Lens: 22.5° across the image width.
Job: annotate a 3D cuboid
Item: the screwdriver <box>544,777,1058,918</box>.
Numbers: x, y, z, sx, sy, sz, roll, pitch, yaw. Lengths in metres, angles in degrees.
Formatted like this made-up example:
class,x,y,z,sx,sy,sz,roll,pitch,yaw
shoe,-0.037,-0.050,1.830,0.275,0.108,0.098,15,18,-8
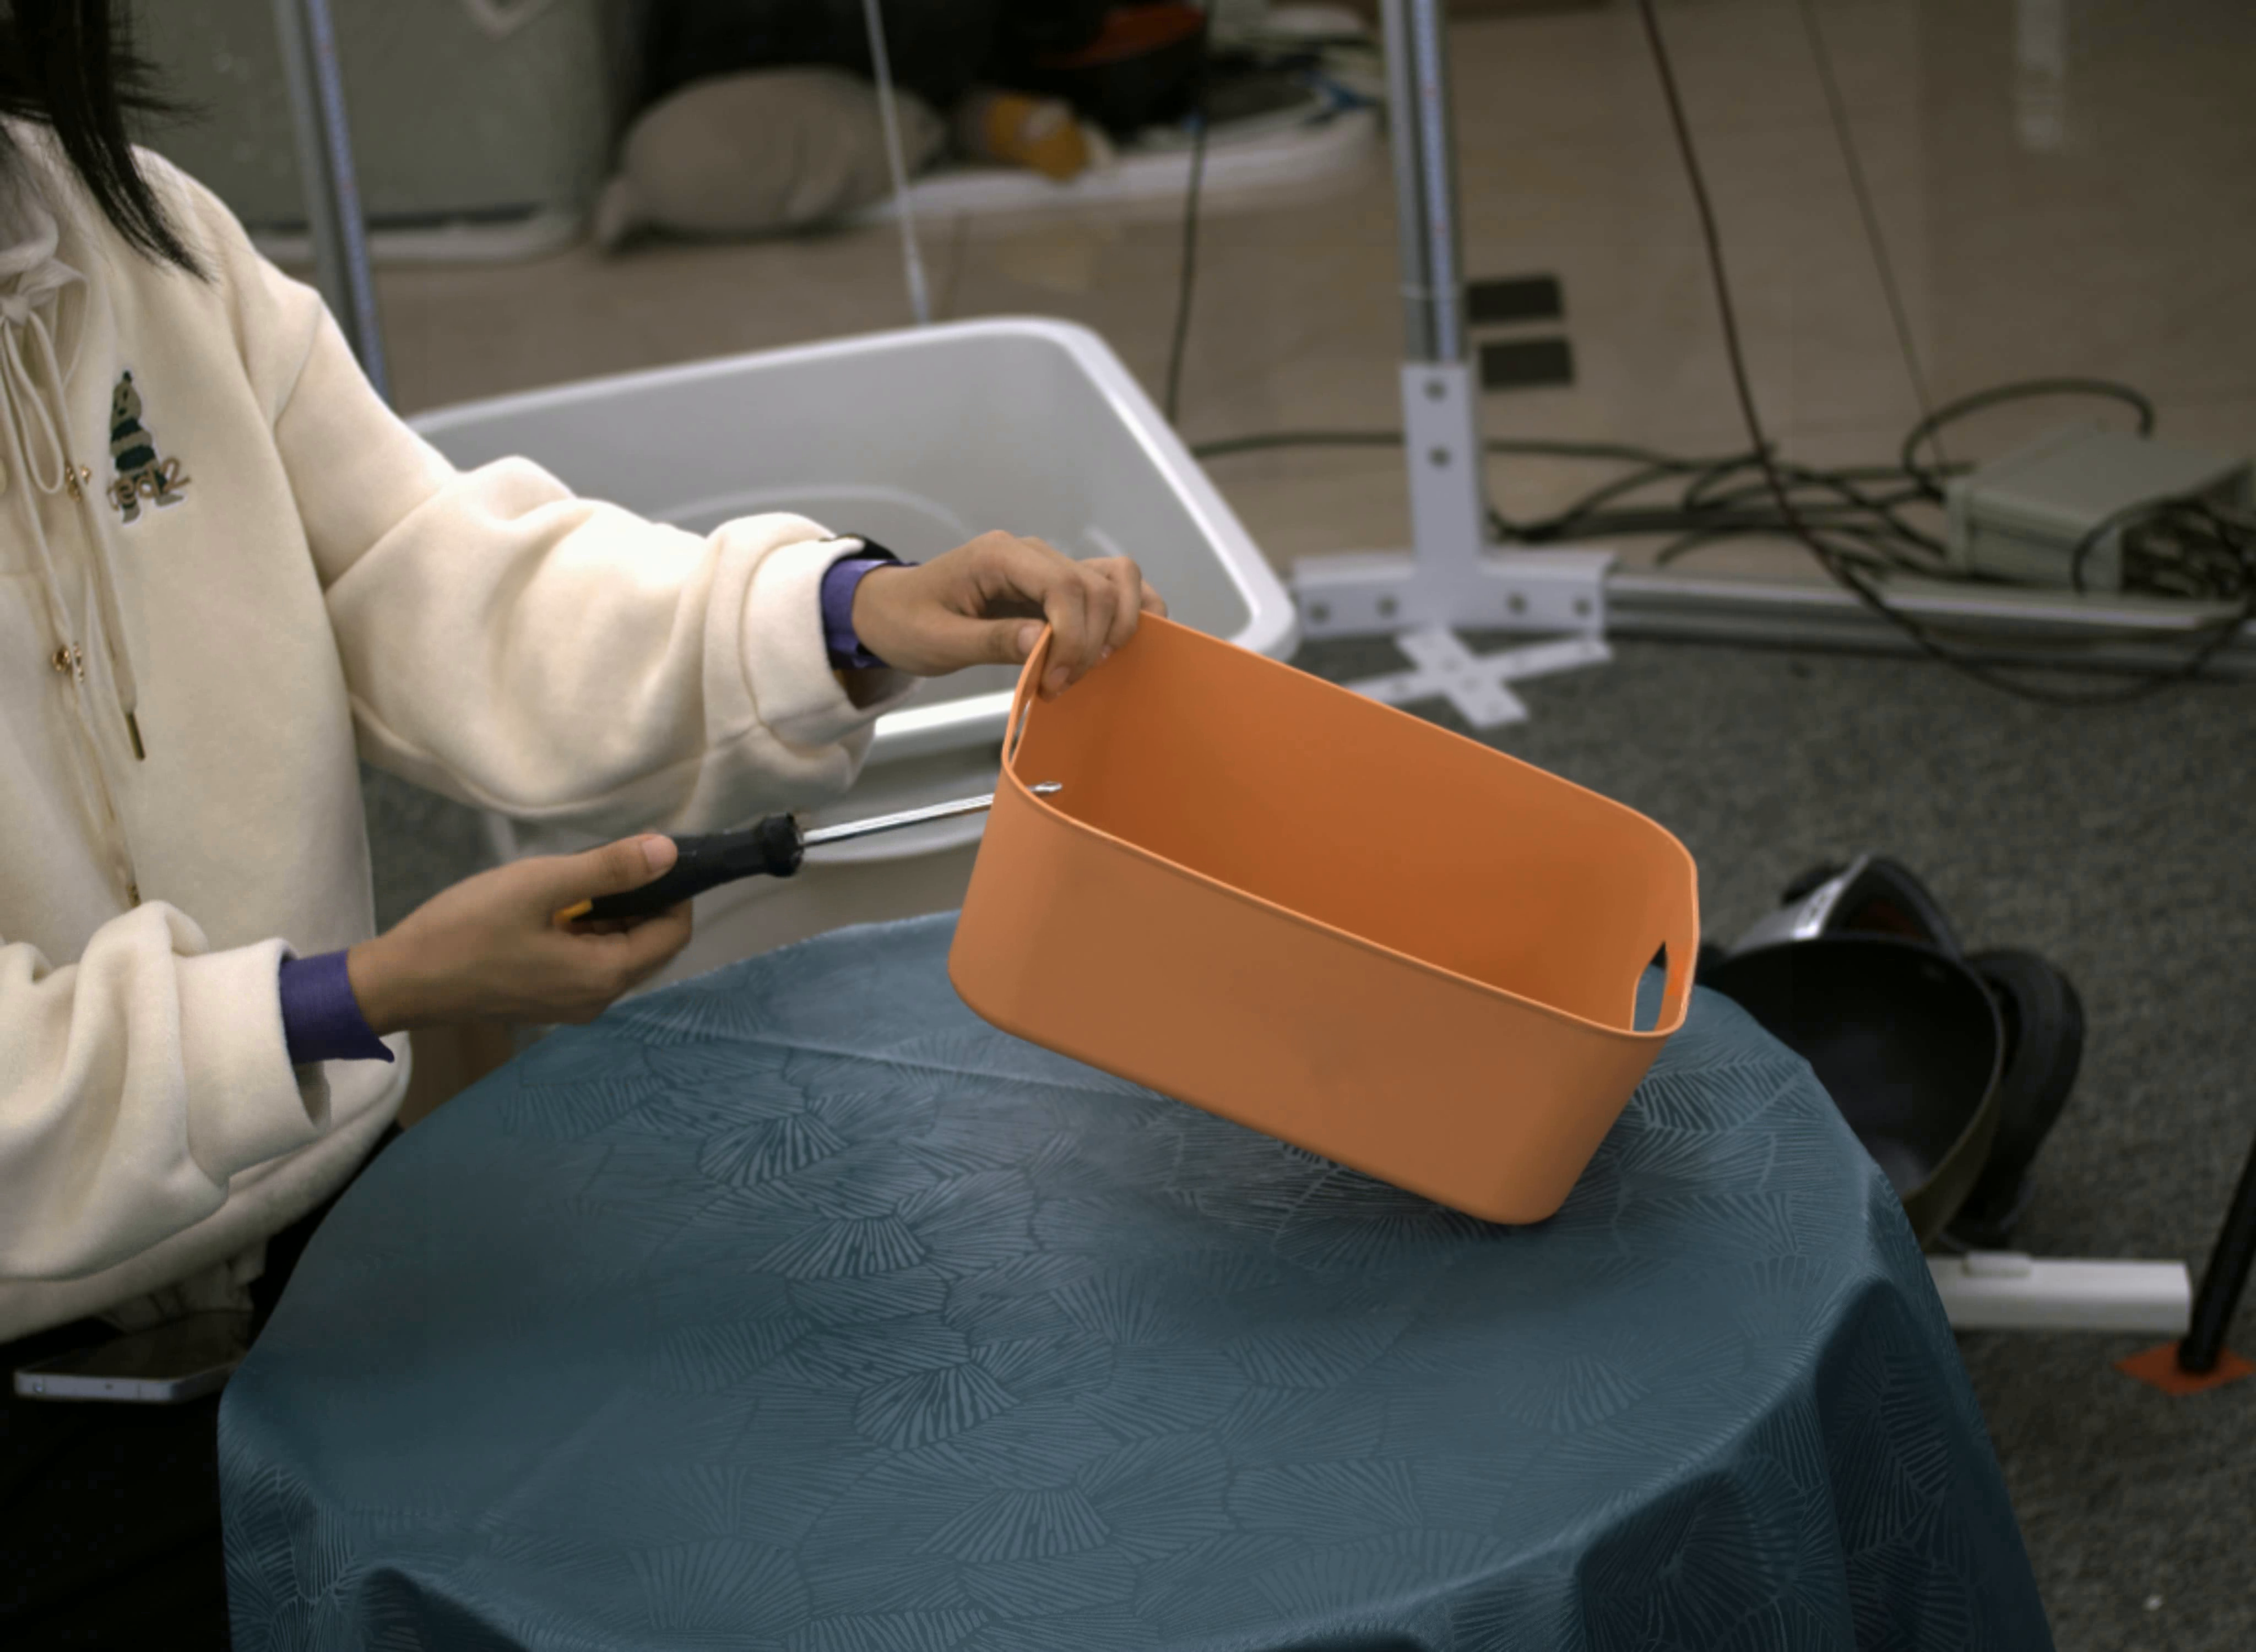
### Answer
class,x,y,z,sx,sy,sz,roll,pitch,yaw
screwdriver,-0.120,0.003,2.095,0.196,0.032,0.031,-13,25,3

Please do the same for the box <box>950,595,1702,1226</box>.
class,x,y,z,sx,sy,sz,roll,pitch,yaw
box,0.070,0.034,2.123,0.273,0.104,0.196,22,28,-4
